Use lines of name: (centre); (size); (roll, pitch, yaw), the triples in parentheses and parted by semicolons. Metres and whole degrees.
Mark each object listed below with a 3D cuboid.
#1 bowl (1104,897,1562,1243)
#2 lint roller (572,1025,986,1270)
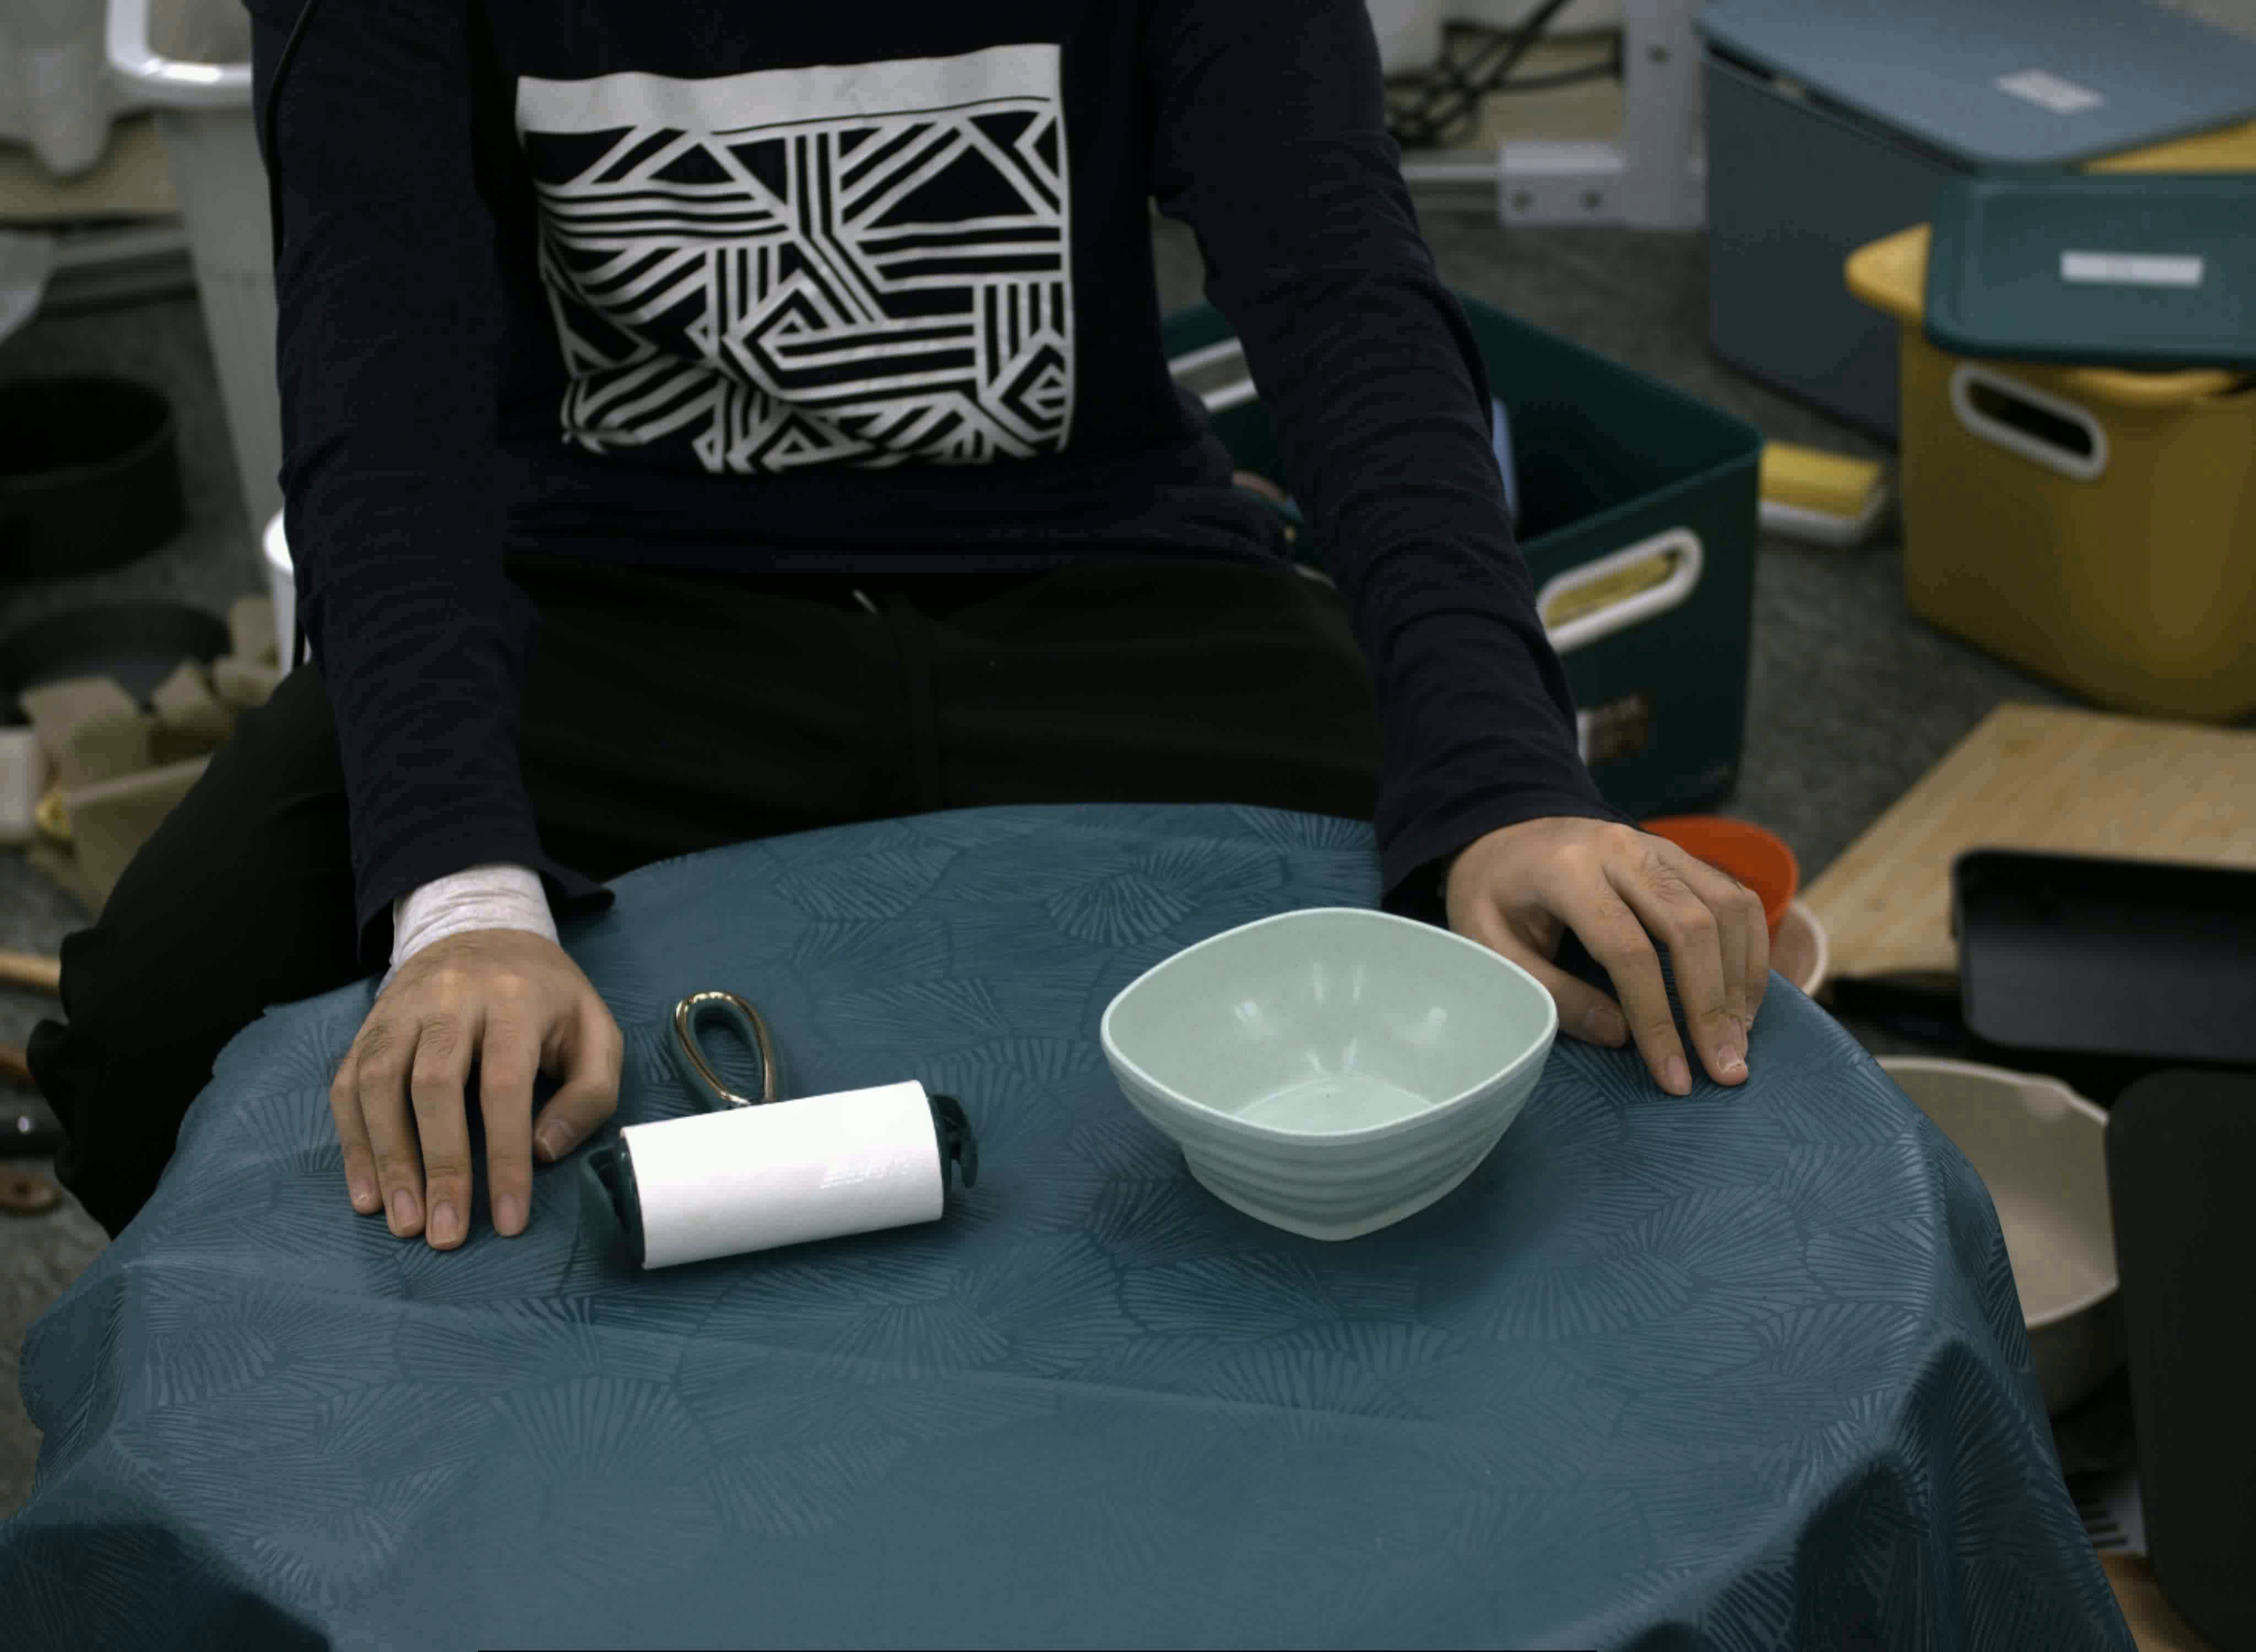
bowl: (0.068, 0.087, 1.861); (0.151, 0.058, 0.154); (-1, 29, 1)
lint roller: (-0.130, 0.088, 1.896); (0.134, 0.048, 0.182); (-9, 25, -12)
